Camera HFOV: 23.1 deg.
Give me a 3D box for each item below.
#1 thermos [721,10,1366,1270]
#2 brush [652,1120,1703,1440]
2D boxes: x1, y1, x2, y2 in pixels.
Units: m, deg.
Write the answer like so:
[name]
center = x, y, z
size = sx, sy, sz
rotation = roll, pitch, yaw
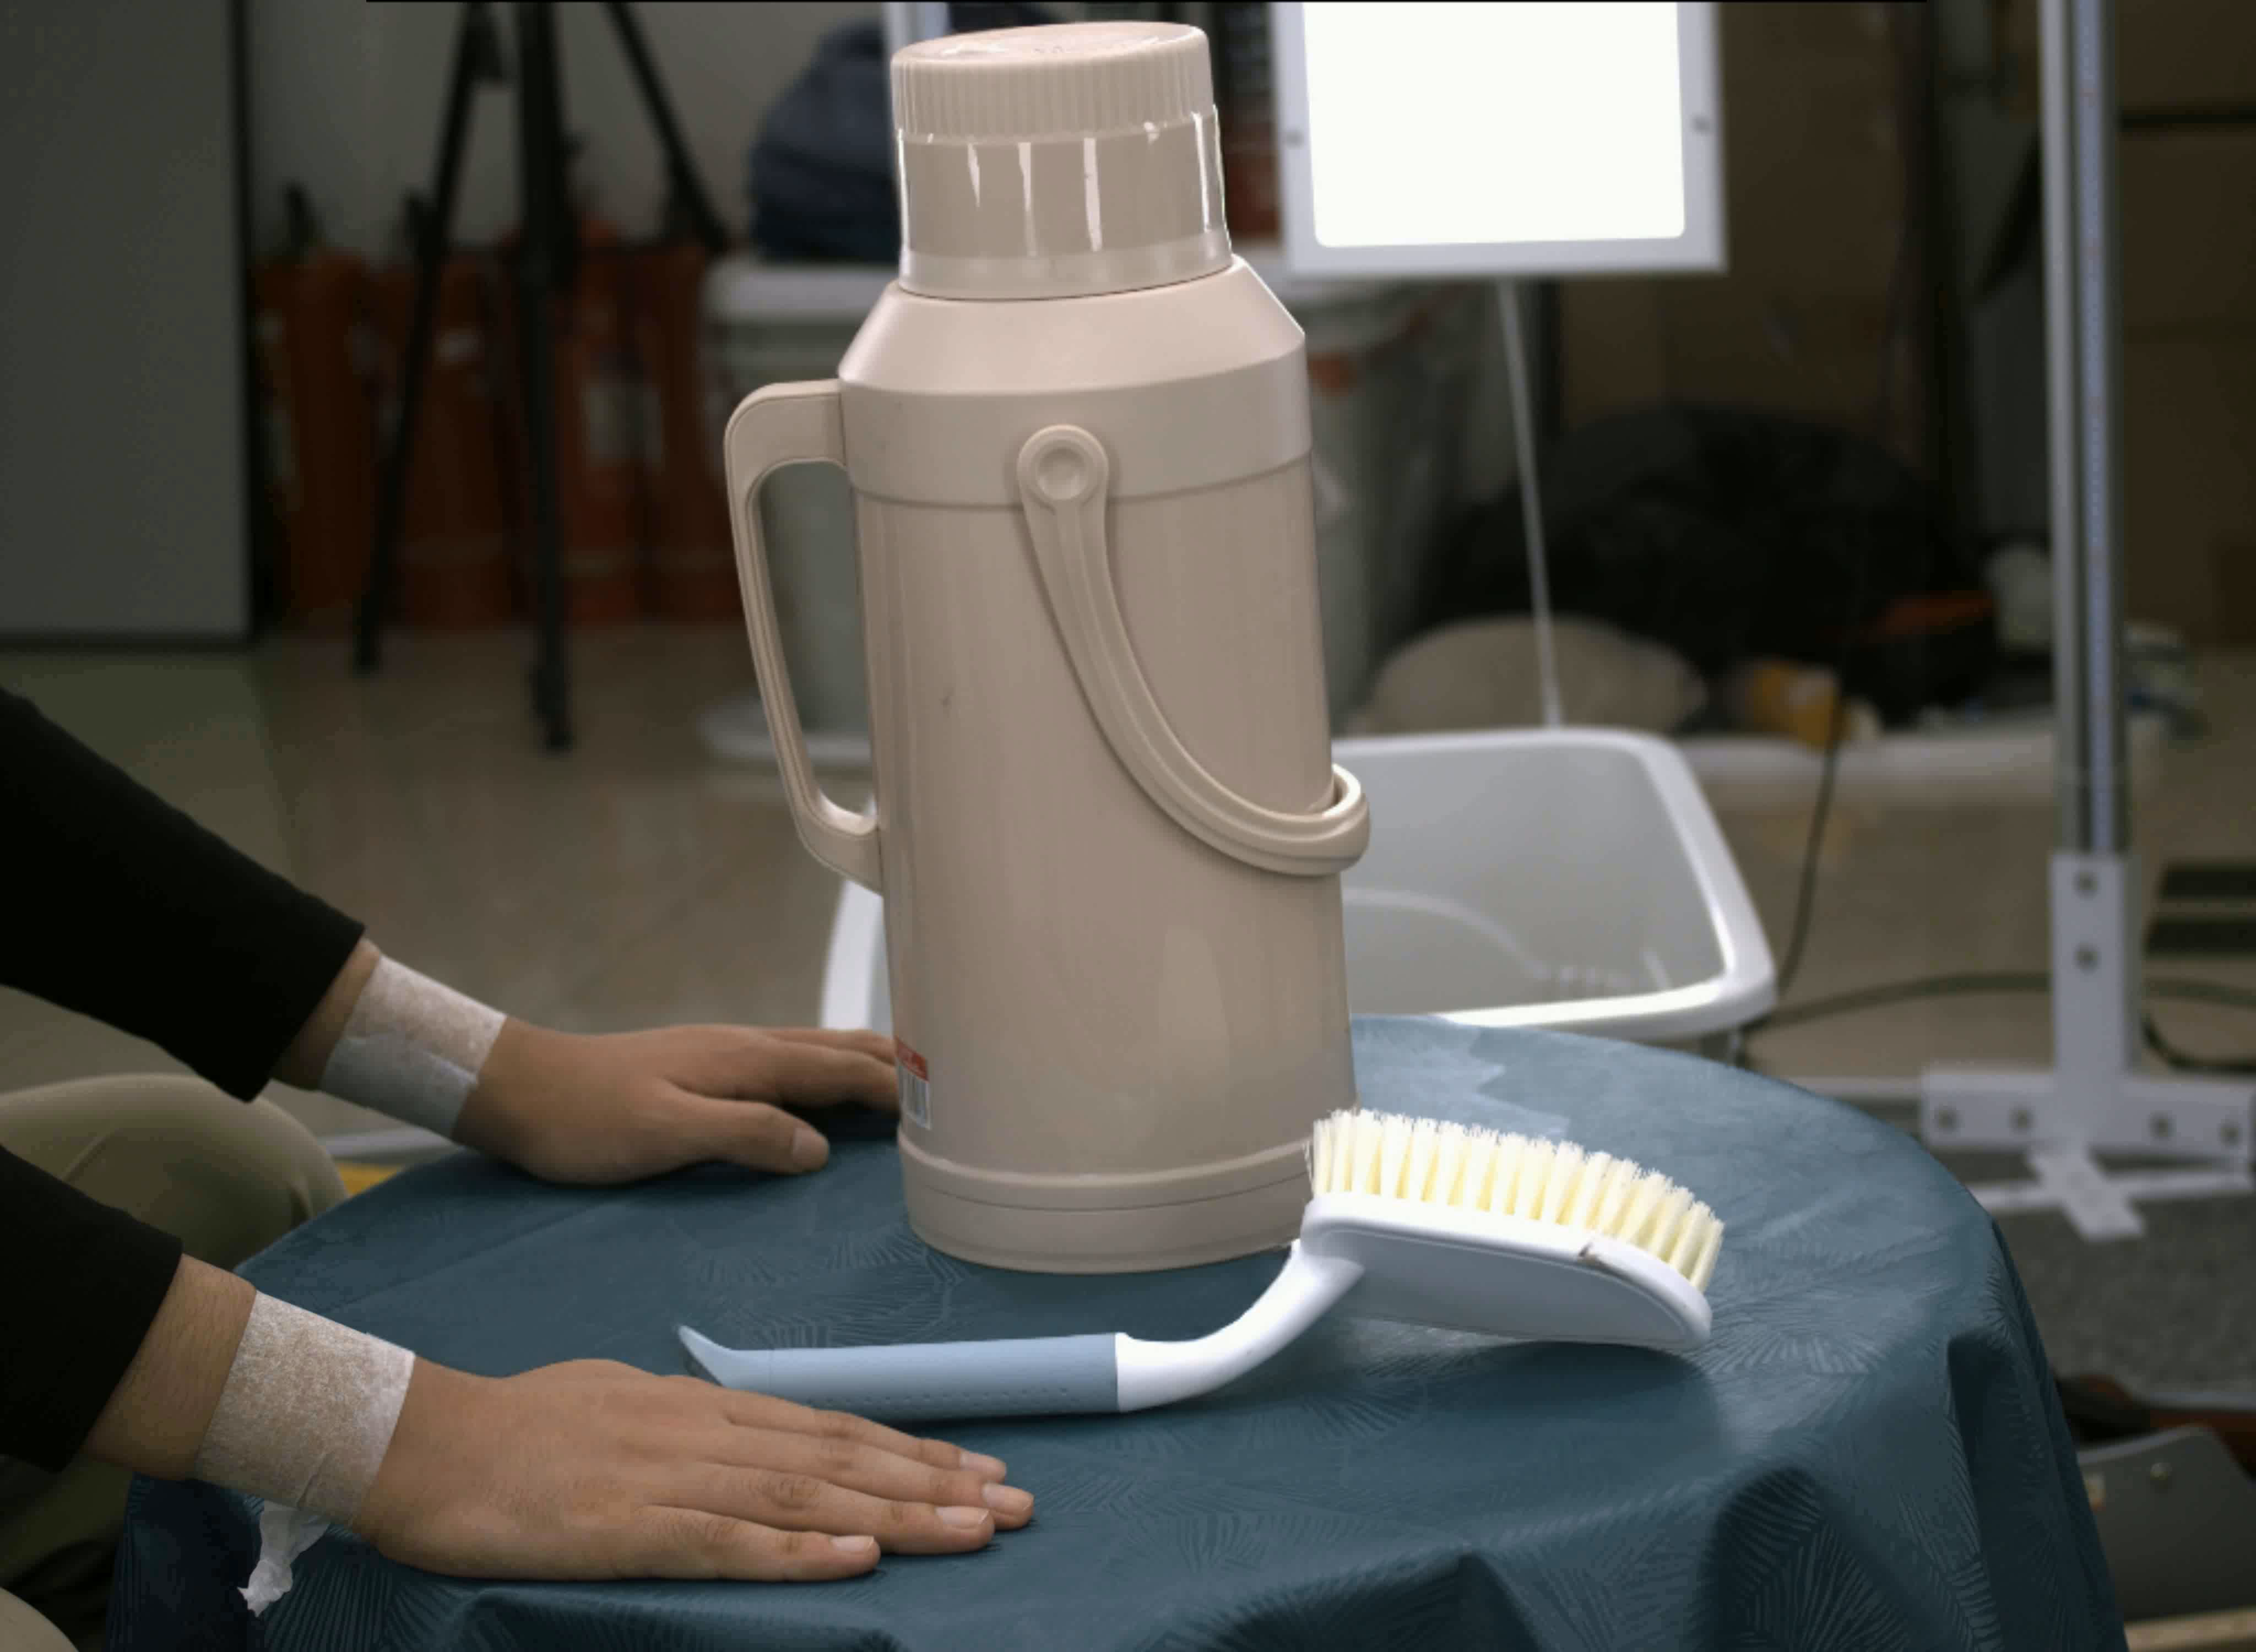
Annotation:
[thermos]
center = -0.027, -0.063, 1.845
size = 0.207, 0.408, 0.174
rotation = -3, 15, 4
[brush]
center = 0.015, 0.133, 1.697
size = 0.325, 0.083, 0.084
rotation = -3, 19, 3
